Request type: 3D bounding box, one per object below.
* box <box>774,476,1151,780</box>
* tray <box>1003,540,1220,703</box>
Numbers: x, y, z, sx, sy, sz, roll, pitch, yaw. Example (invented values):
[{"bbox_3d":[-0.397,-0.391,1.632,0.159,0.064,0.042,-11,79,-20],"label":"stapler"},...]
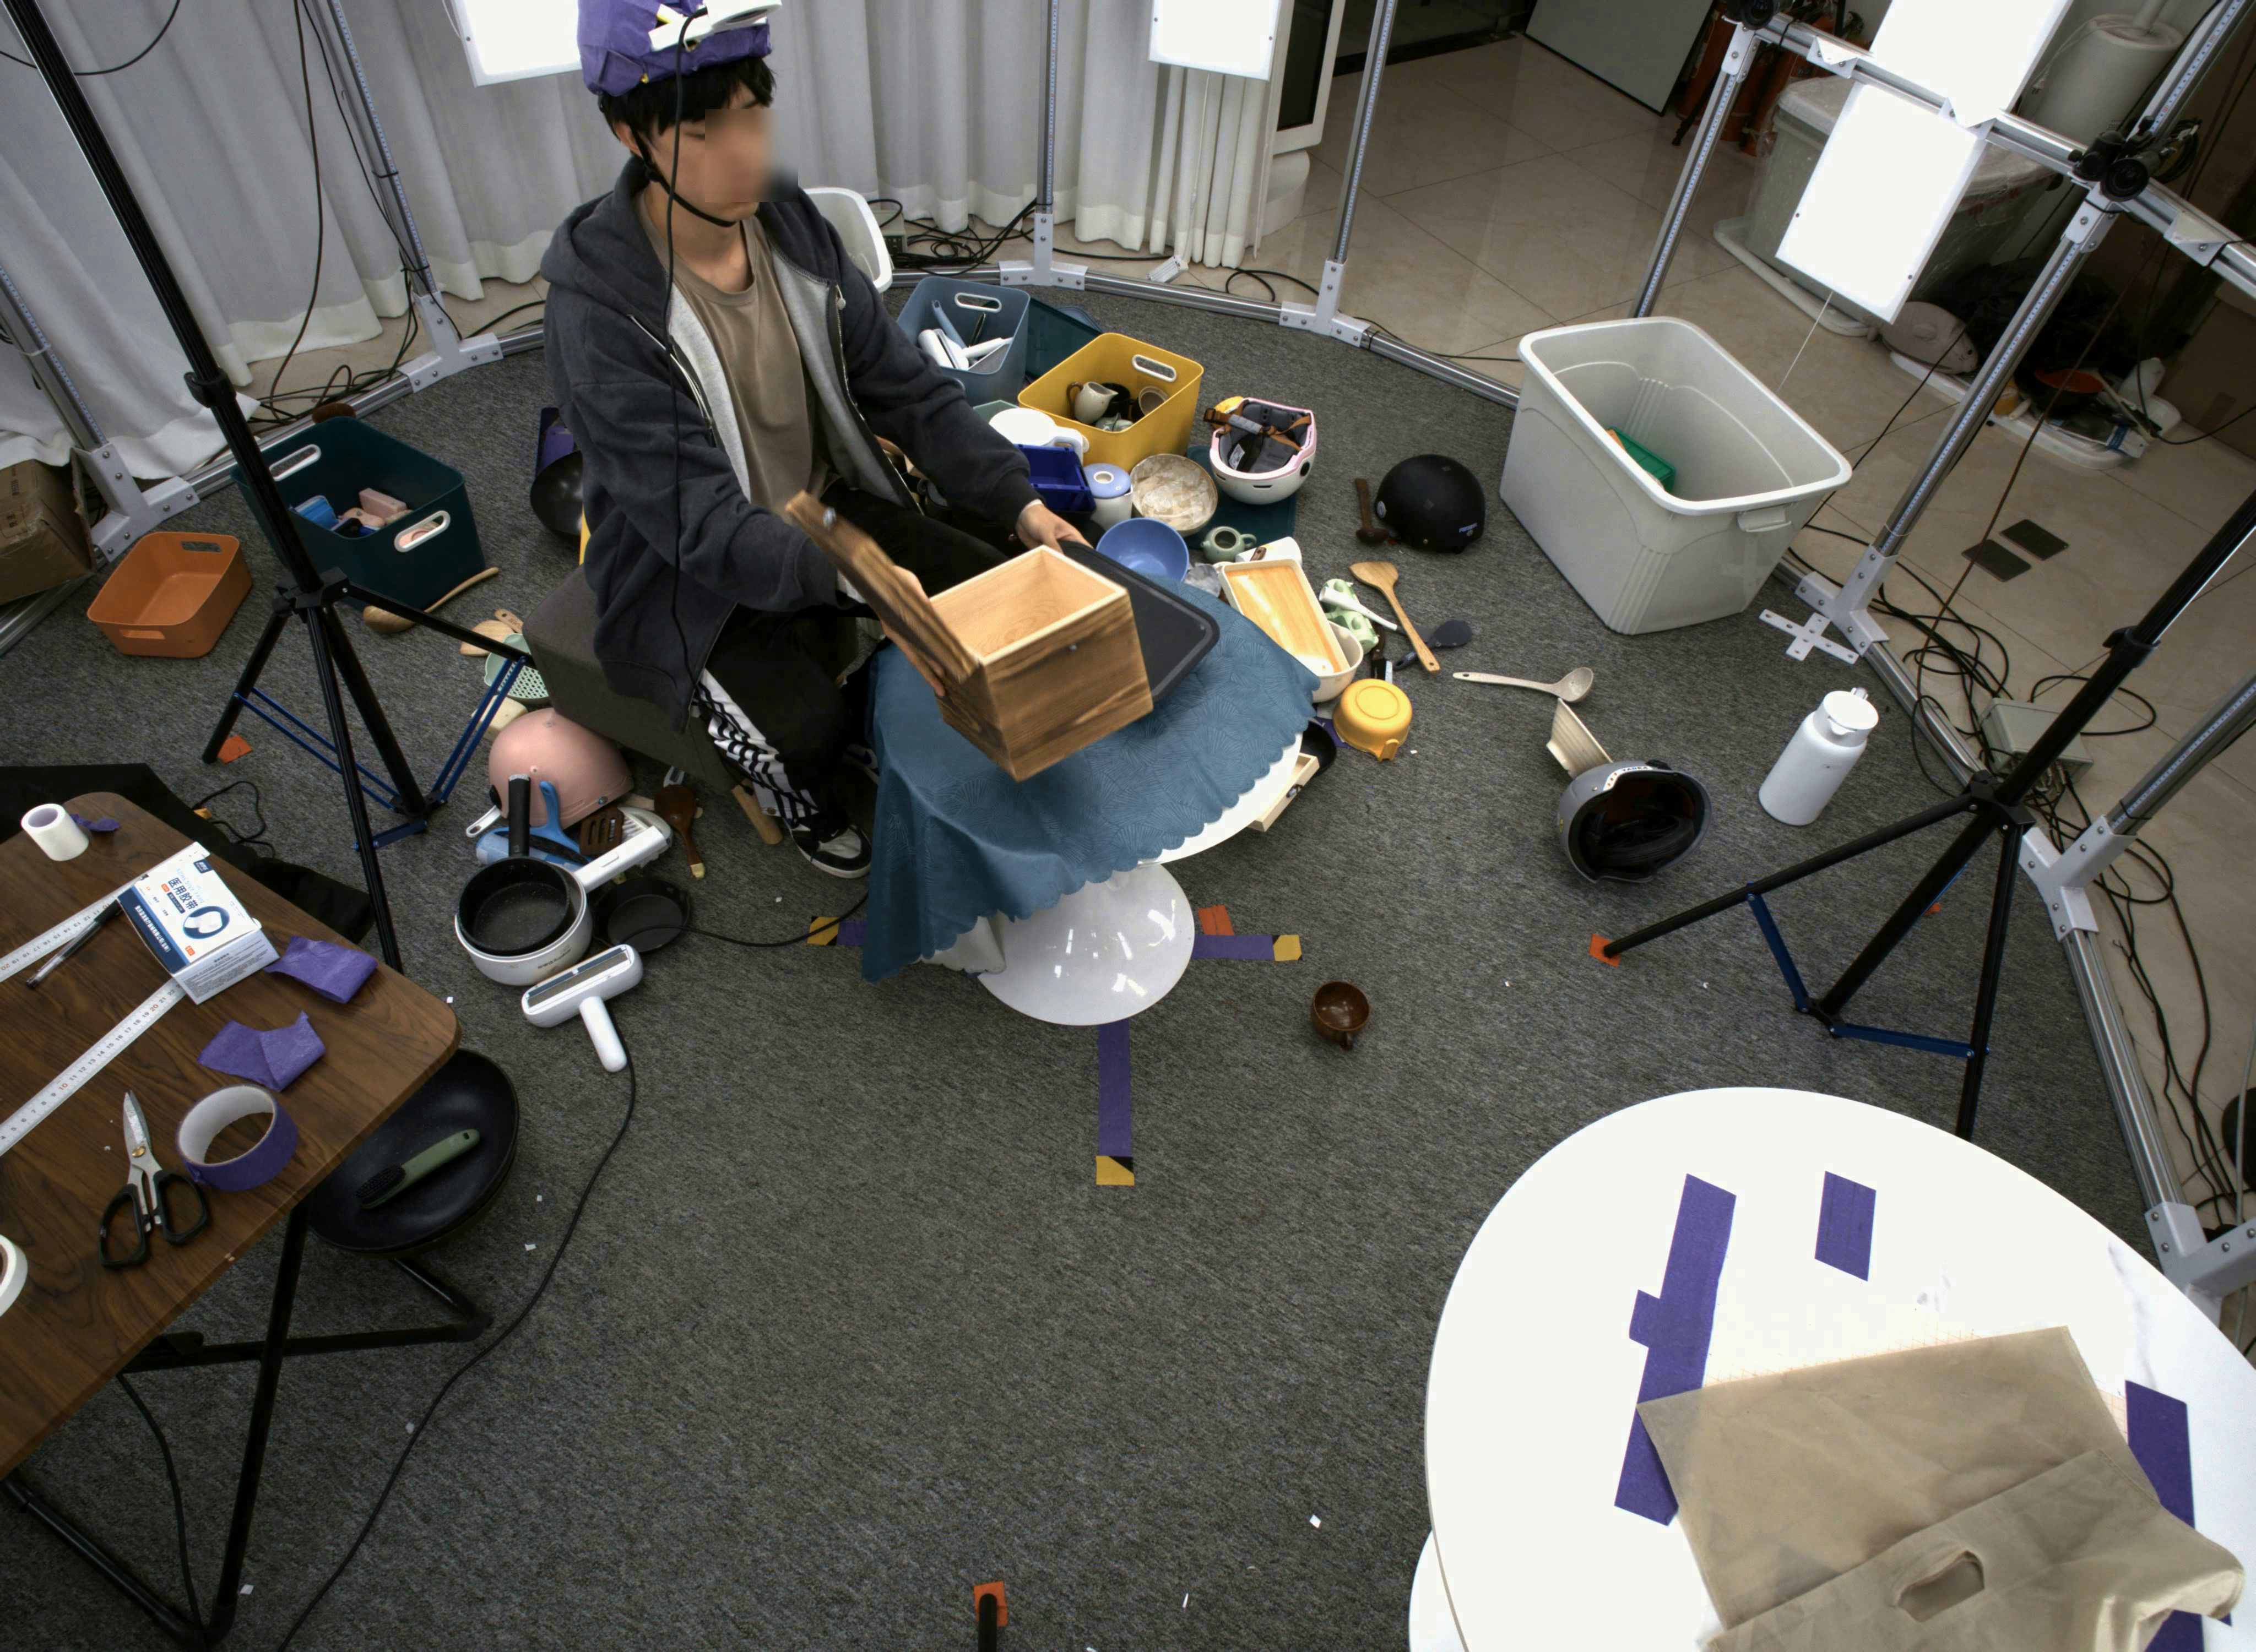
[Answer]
[{"bbox_3d":[-0.179,-0.257,1.497,0.324,0.367,0.212,-30,37,-21],"label":"box"},{"bbox_3d":[-0.043,-0.303,1.844,0.328,0.009,0.214,32,57,17],"label":"tray"}]
